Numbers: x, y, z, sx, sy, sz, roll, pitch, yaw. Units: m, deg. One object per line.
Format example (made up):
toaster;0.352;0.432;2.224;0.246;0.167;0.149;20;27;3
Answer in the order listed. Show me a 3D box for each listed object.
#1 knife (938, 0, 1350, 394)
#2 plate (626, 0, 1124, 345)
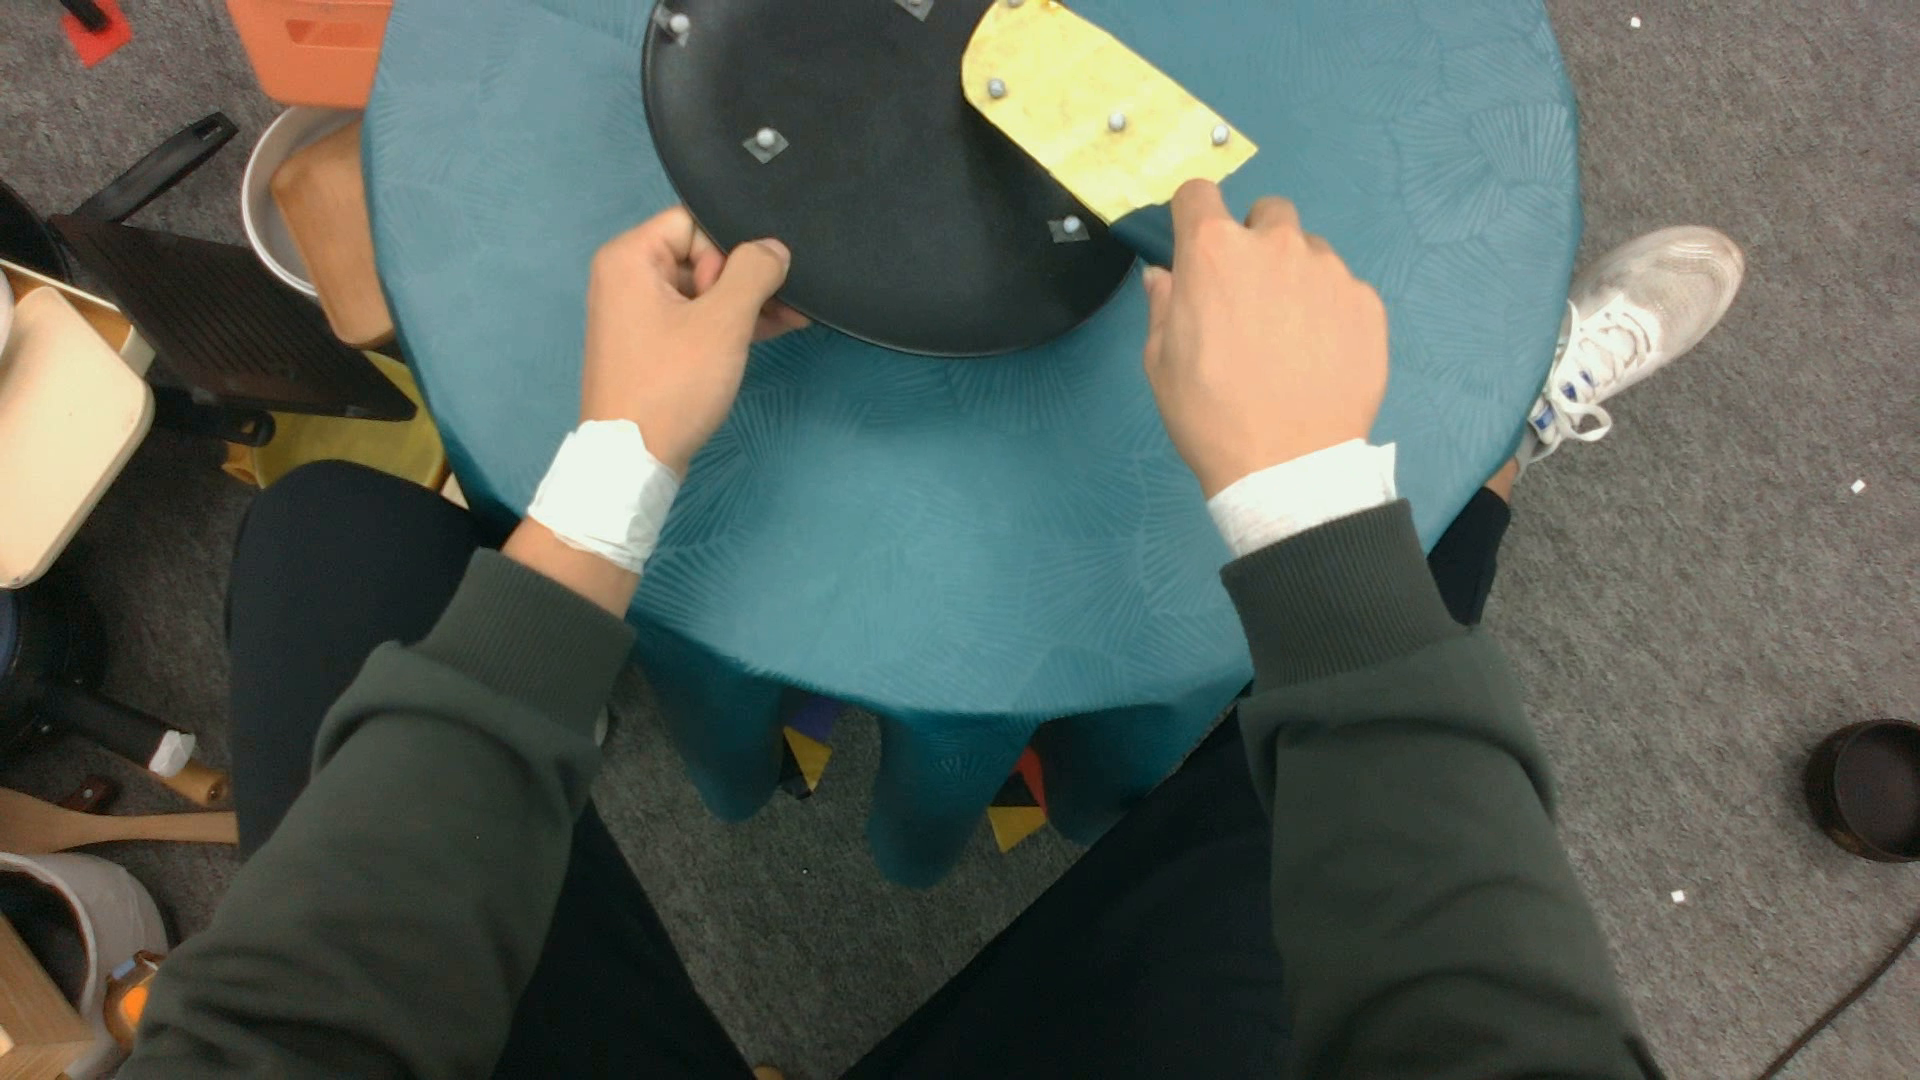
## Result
knife;0.080;-0.167;0.611;0.081;0.027;0.290;-34;61;-6
plate;-0.032;-0.193;0.638;0.244;0.023;0.245;9;65;-19
